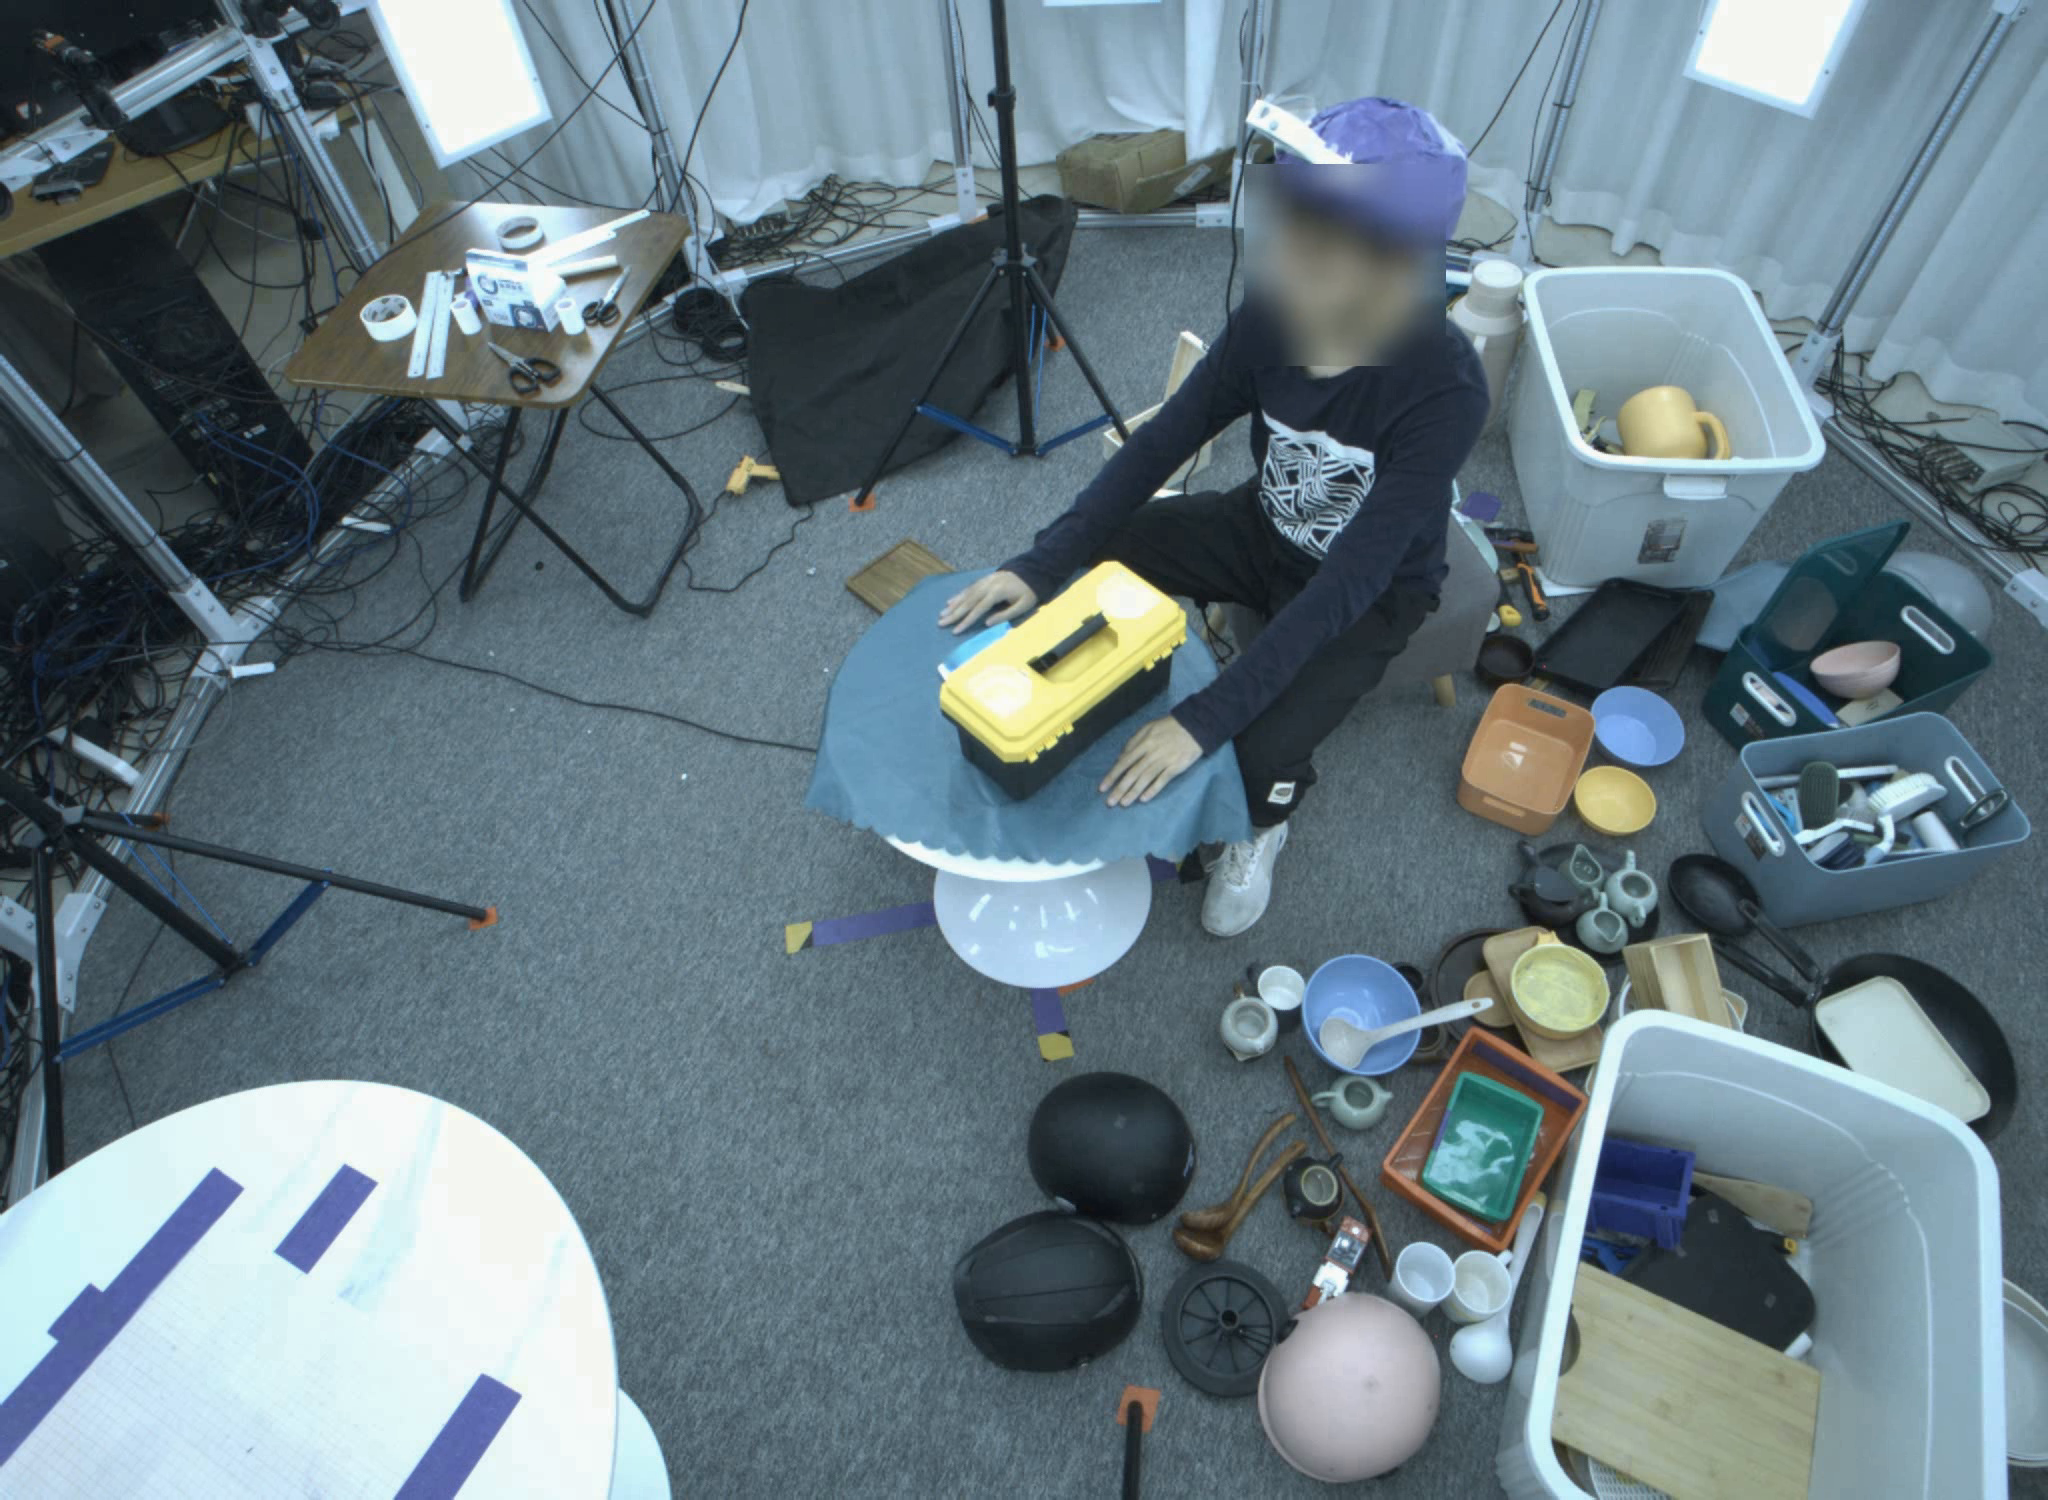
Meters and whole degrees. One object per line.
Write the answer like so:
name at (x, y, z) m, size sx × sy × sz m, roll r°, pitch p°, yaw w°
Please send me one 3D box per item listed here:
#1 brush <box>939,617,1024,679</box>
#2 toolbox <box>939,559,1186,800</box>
brush at (-0.054, -0.153, 1.854) m, size 0.145 × 0.056 × 0.082 m, roll -30°, pitch 62°, yaw -16°
toolbox at (0.059, -0.100, 1.741) m, size 0.354 × 0.175 × 0.178 m, roll -38°, pitch 61°, yaw -22°
